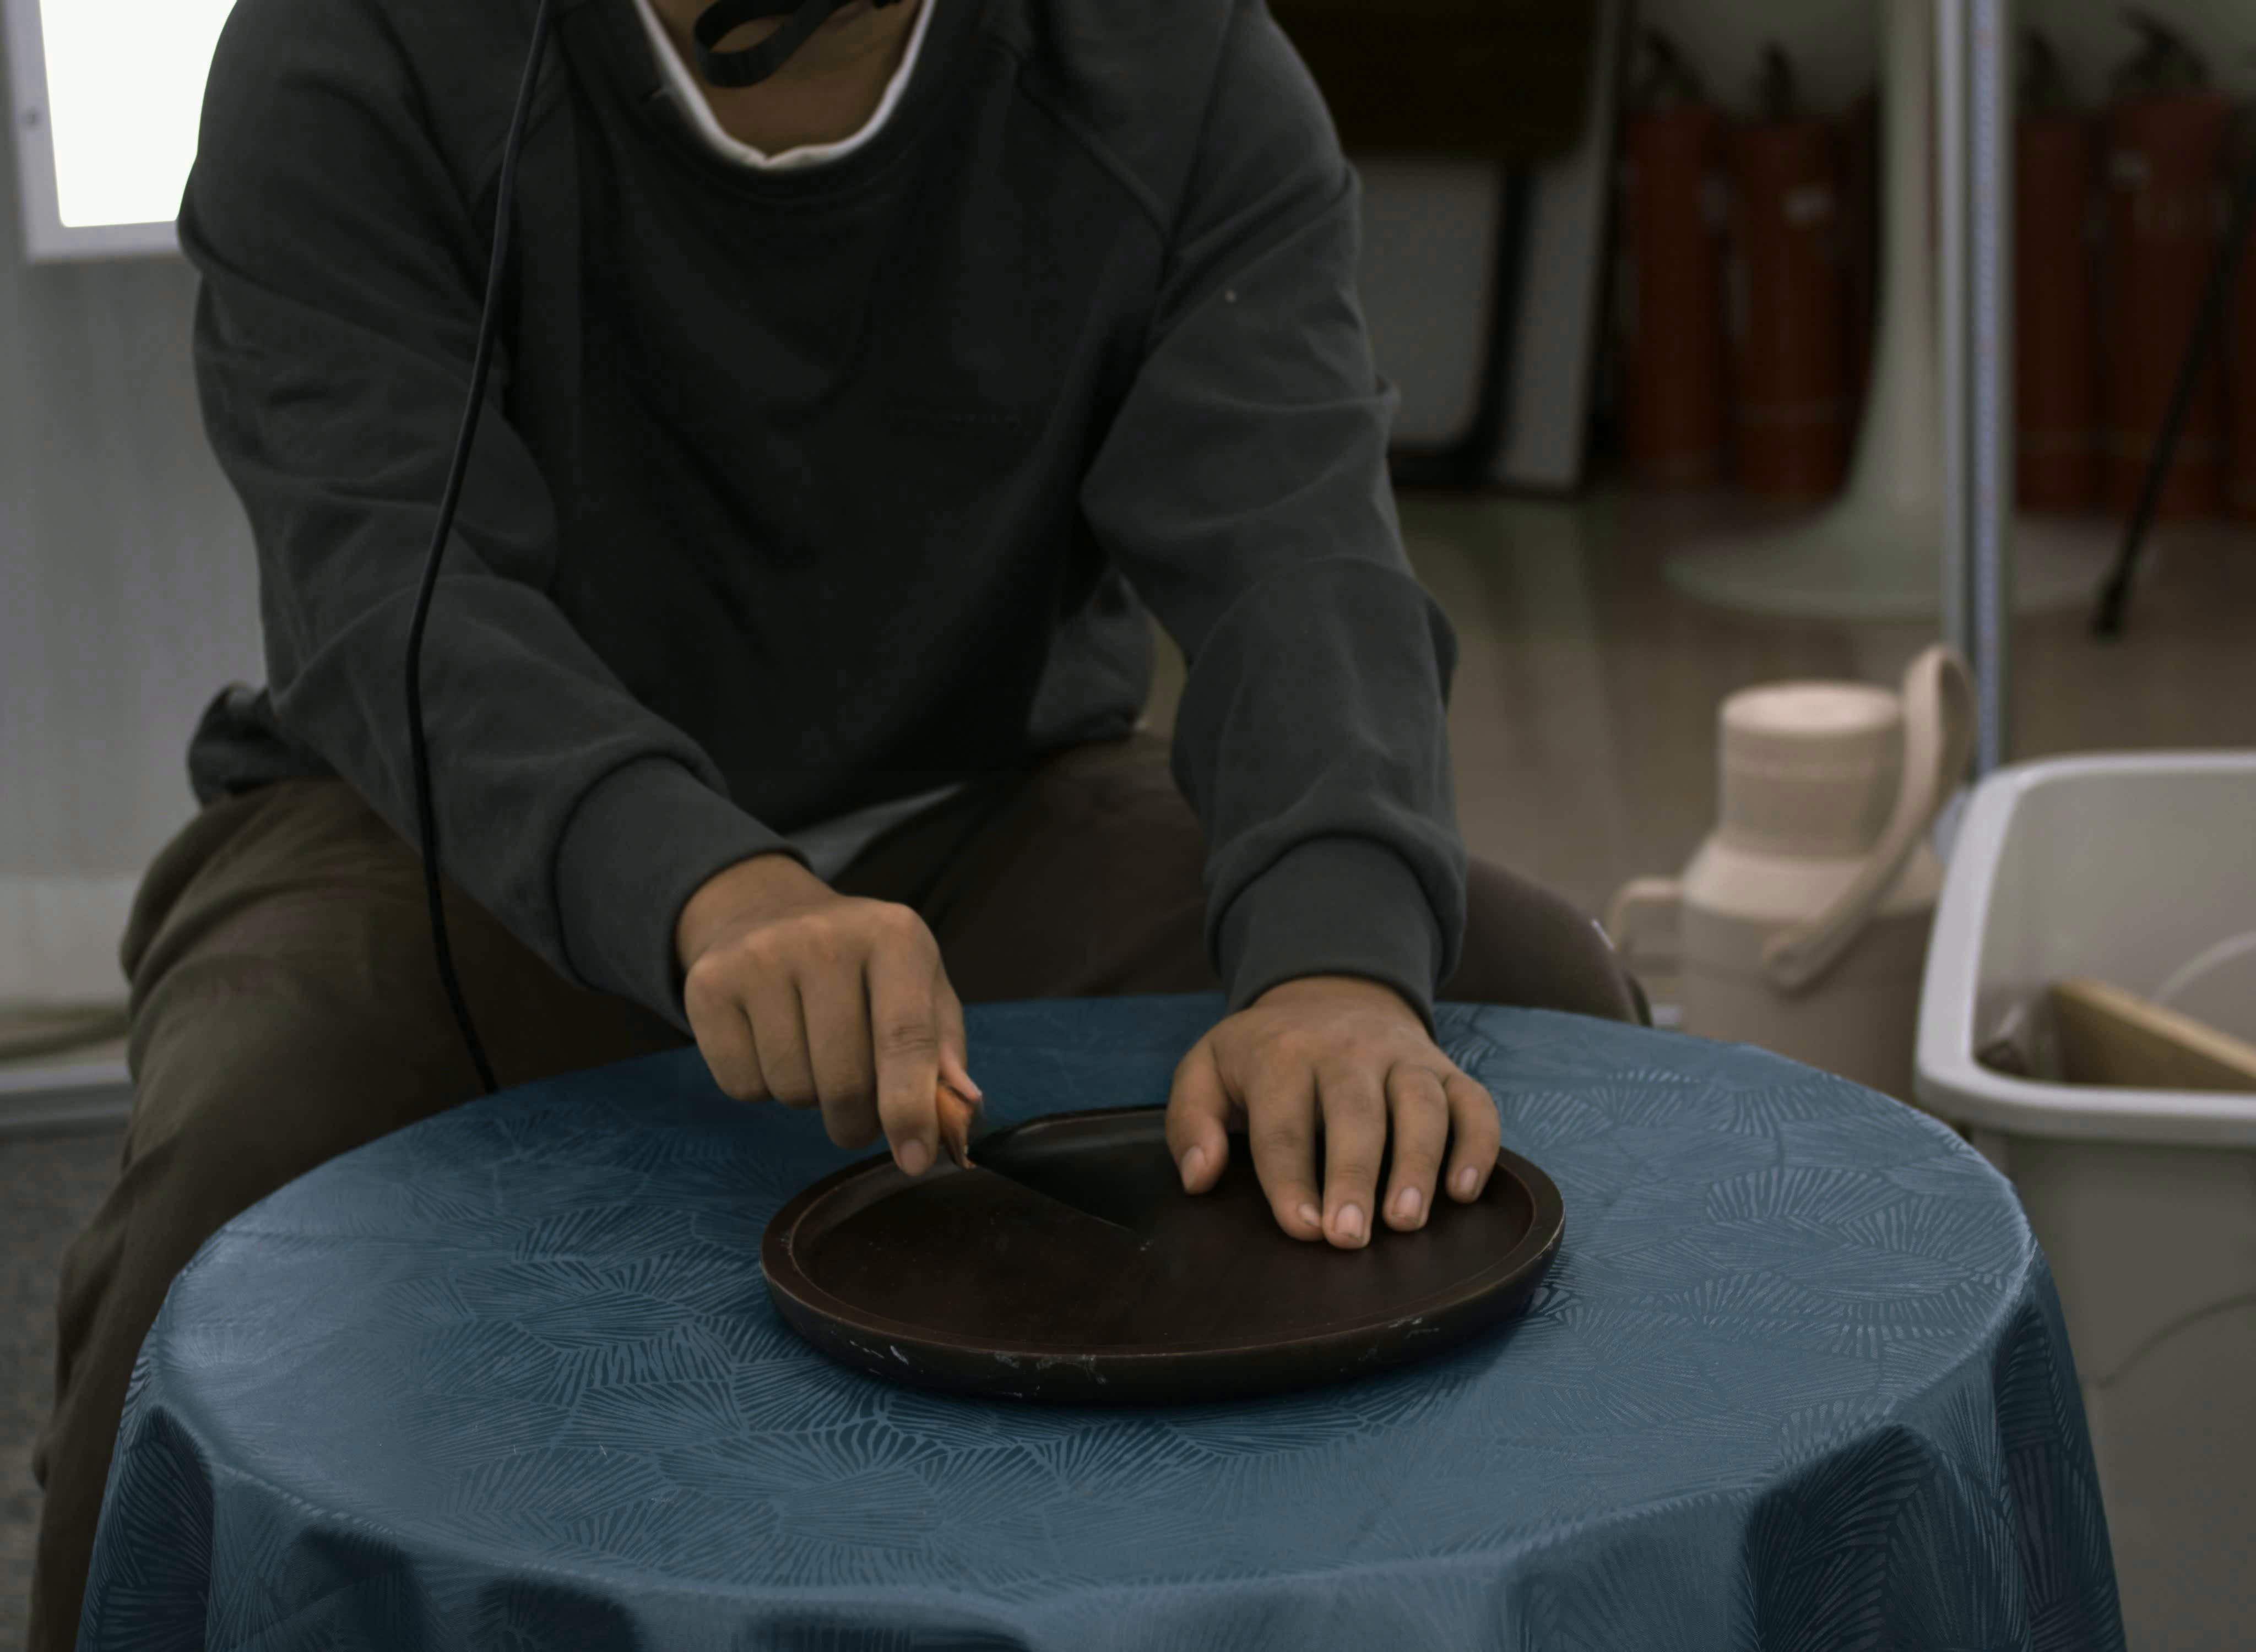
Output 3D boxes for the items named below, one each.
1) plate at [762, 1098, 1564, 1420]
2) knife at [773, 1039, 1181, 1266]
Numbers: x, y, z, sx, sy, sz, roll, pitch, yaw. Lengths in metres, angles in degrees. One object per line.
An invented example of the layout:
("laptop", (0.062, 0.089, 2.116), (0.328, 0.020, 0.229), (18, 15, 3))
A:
("plate", (0.012, 0.133, 1.678), (0.251, 0.029, 0.255), (-6, 13, 0))
("knife", (-0.050, 0.101, 1.704), (0.017, 0.026, 0.228), (-25, 25, -28))
